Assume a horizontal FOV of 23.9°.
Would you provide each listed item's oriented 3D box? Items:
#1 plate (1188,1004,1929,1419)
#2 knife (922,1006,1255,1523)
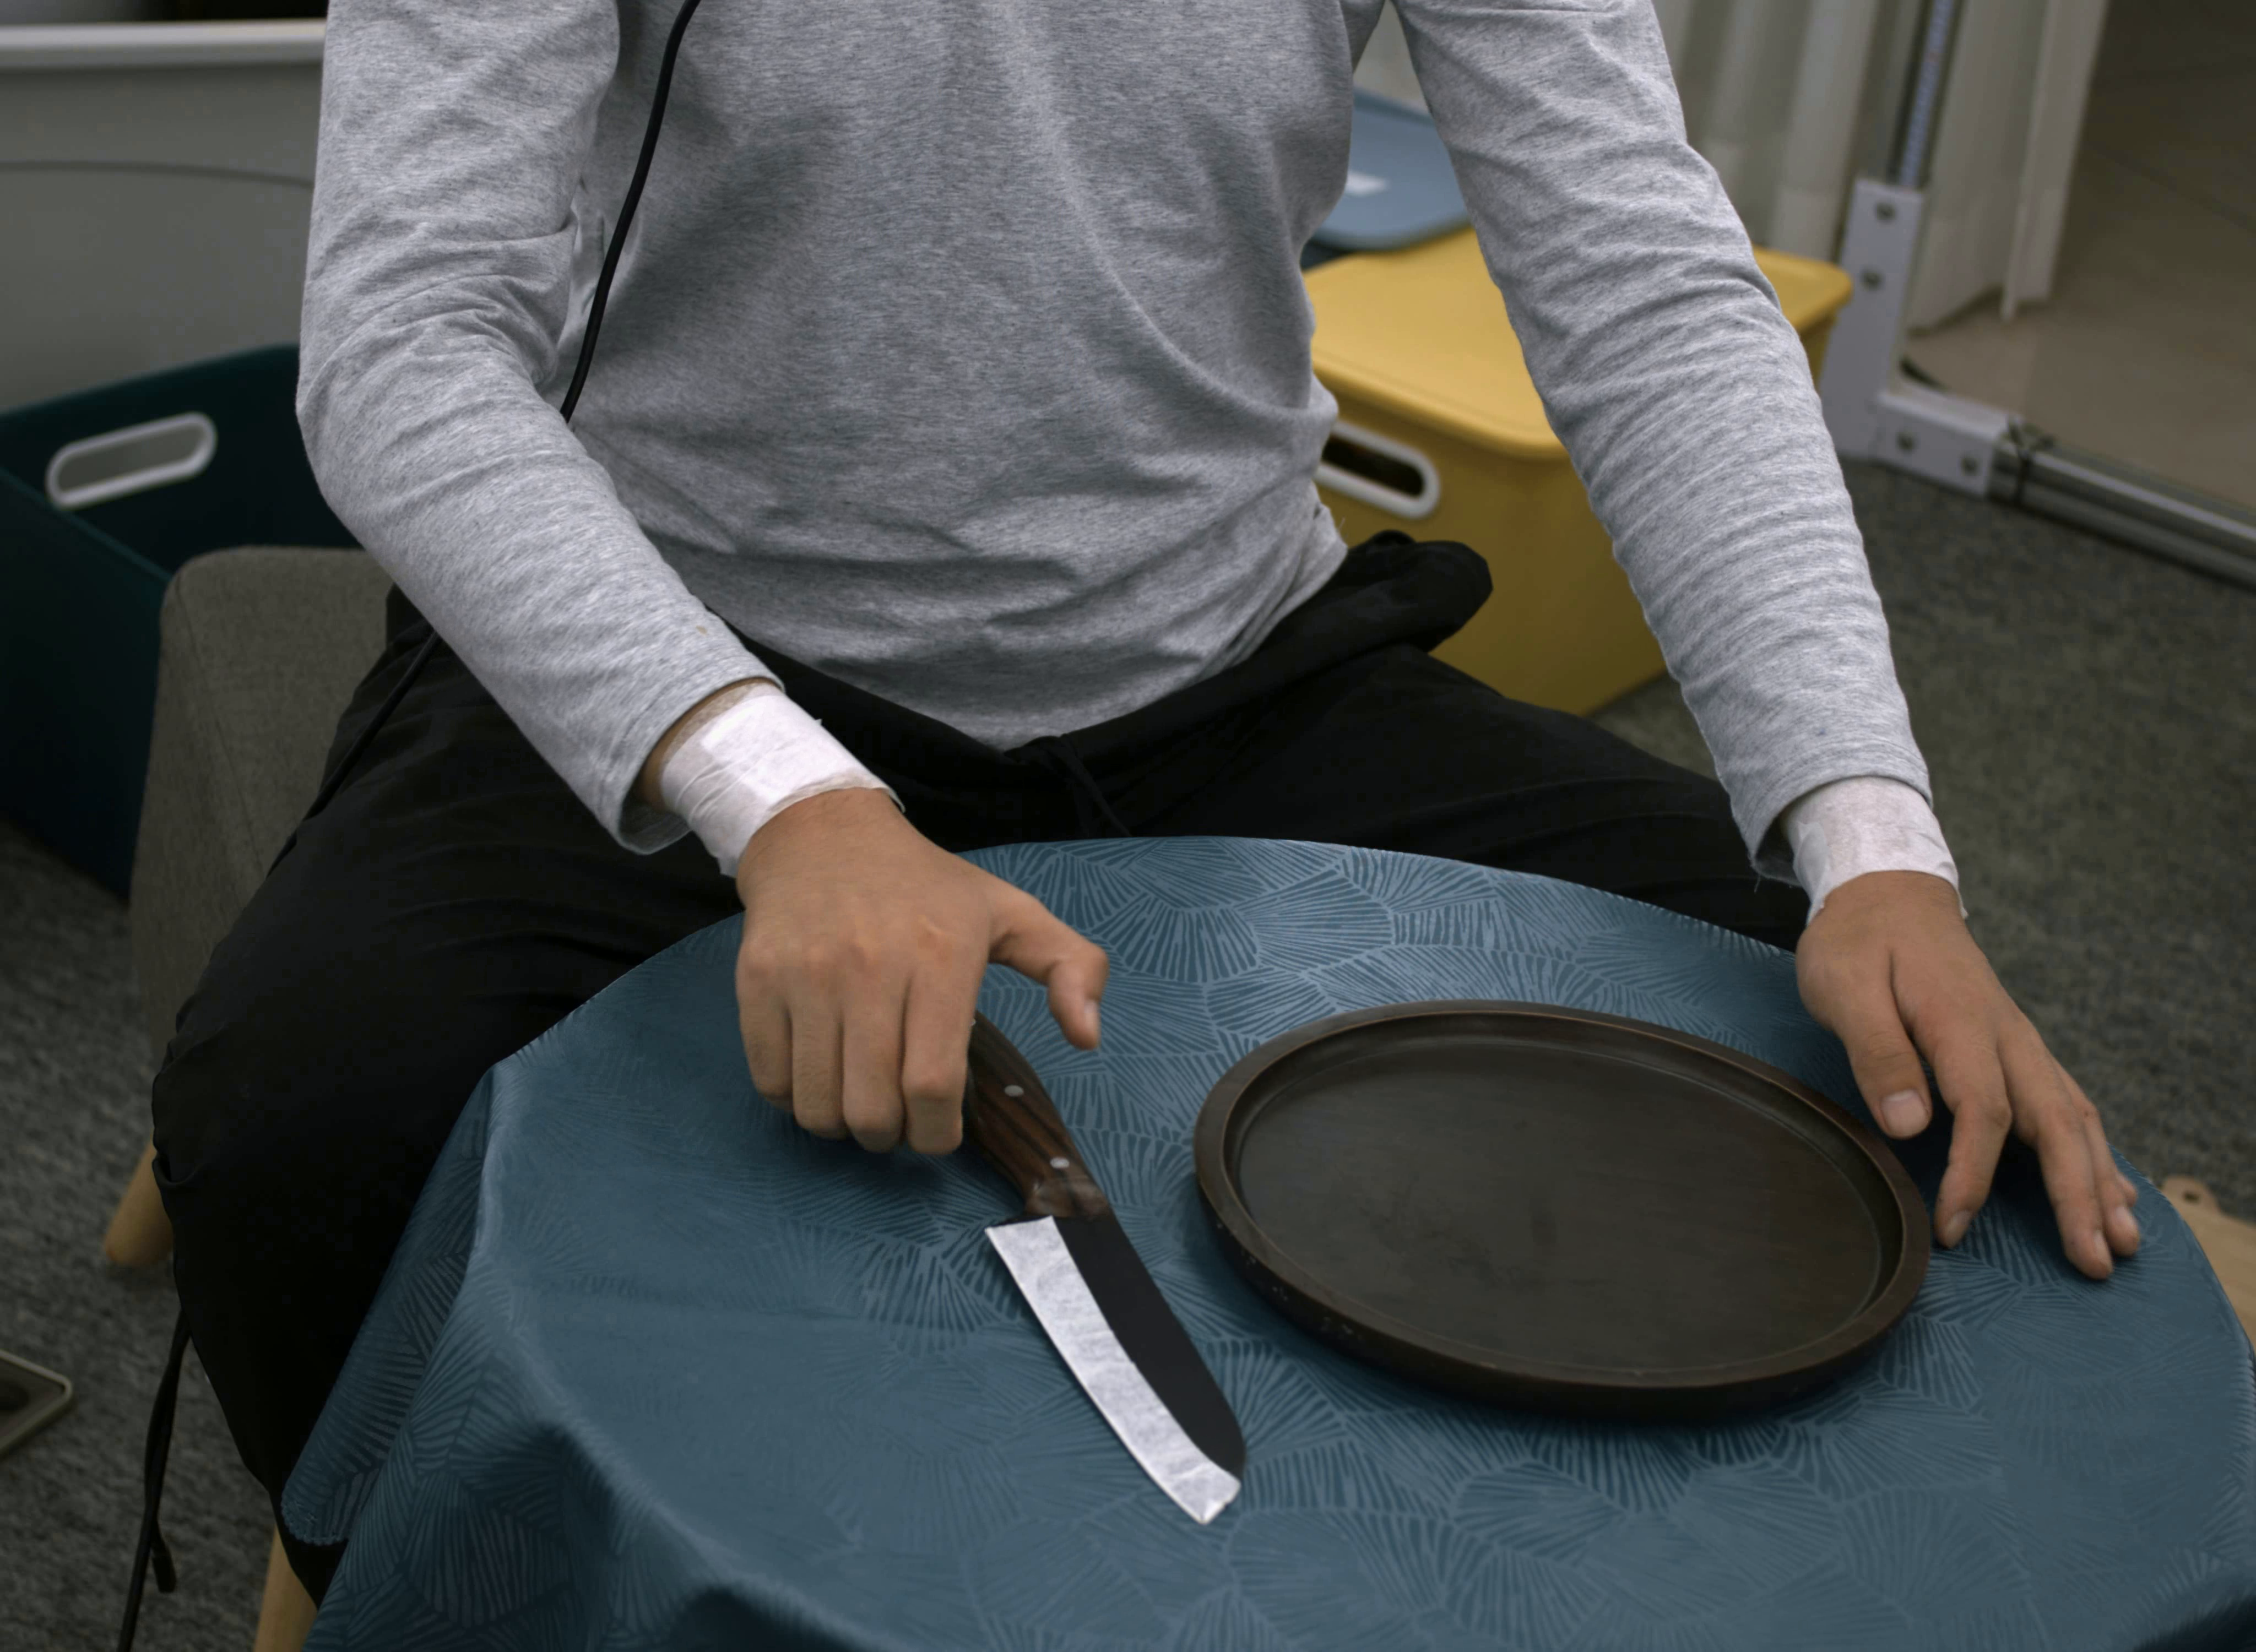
[{"bbox_3d":[0.145,0.128,1.803,0.254,0.029,0.256,3,26,-2],"label":"plate"},{"bbox_3d":[-0.017,0.142,1.750,0.050,0.020,0.292,-8,32,-16],"label":"knife"}]
